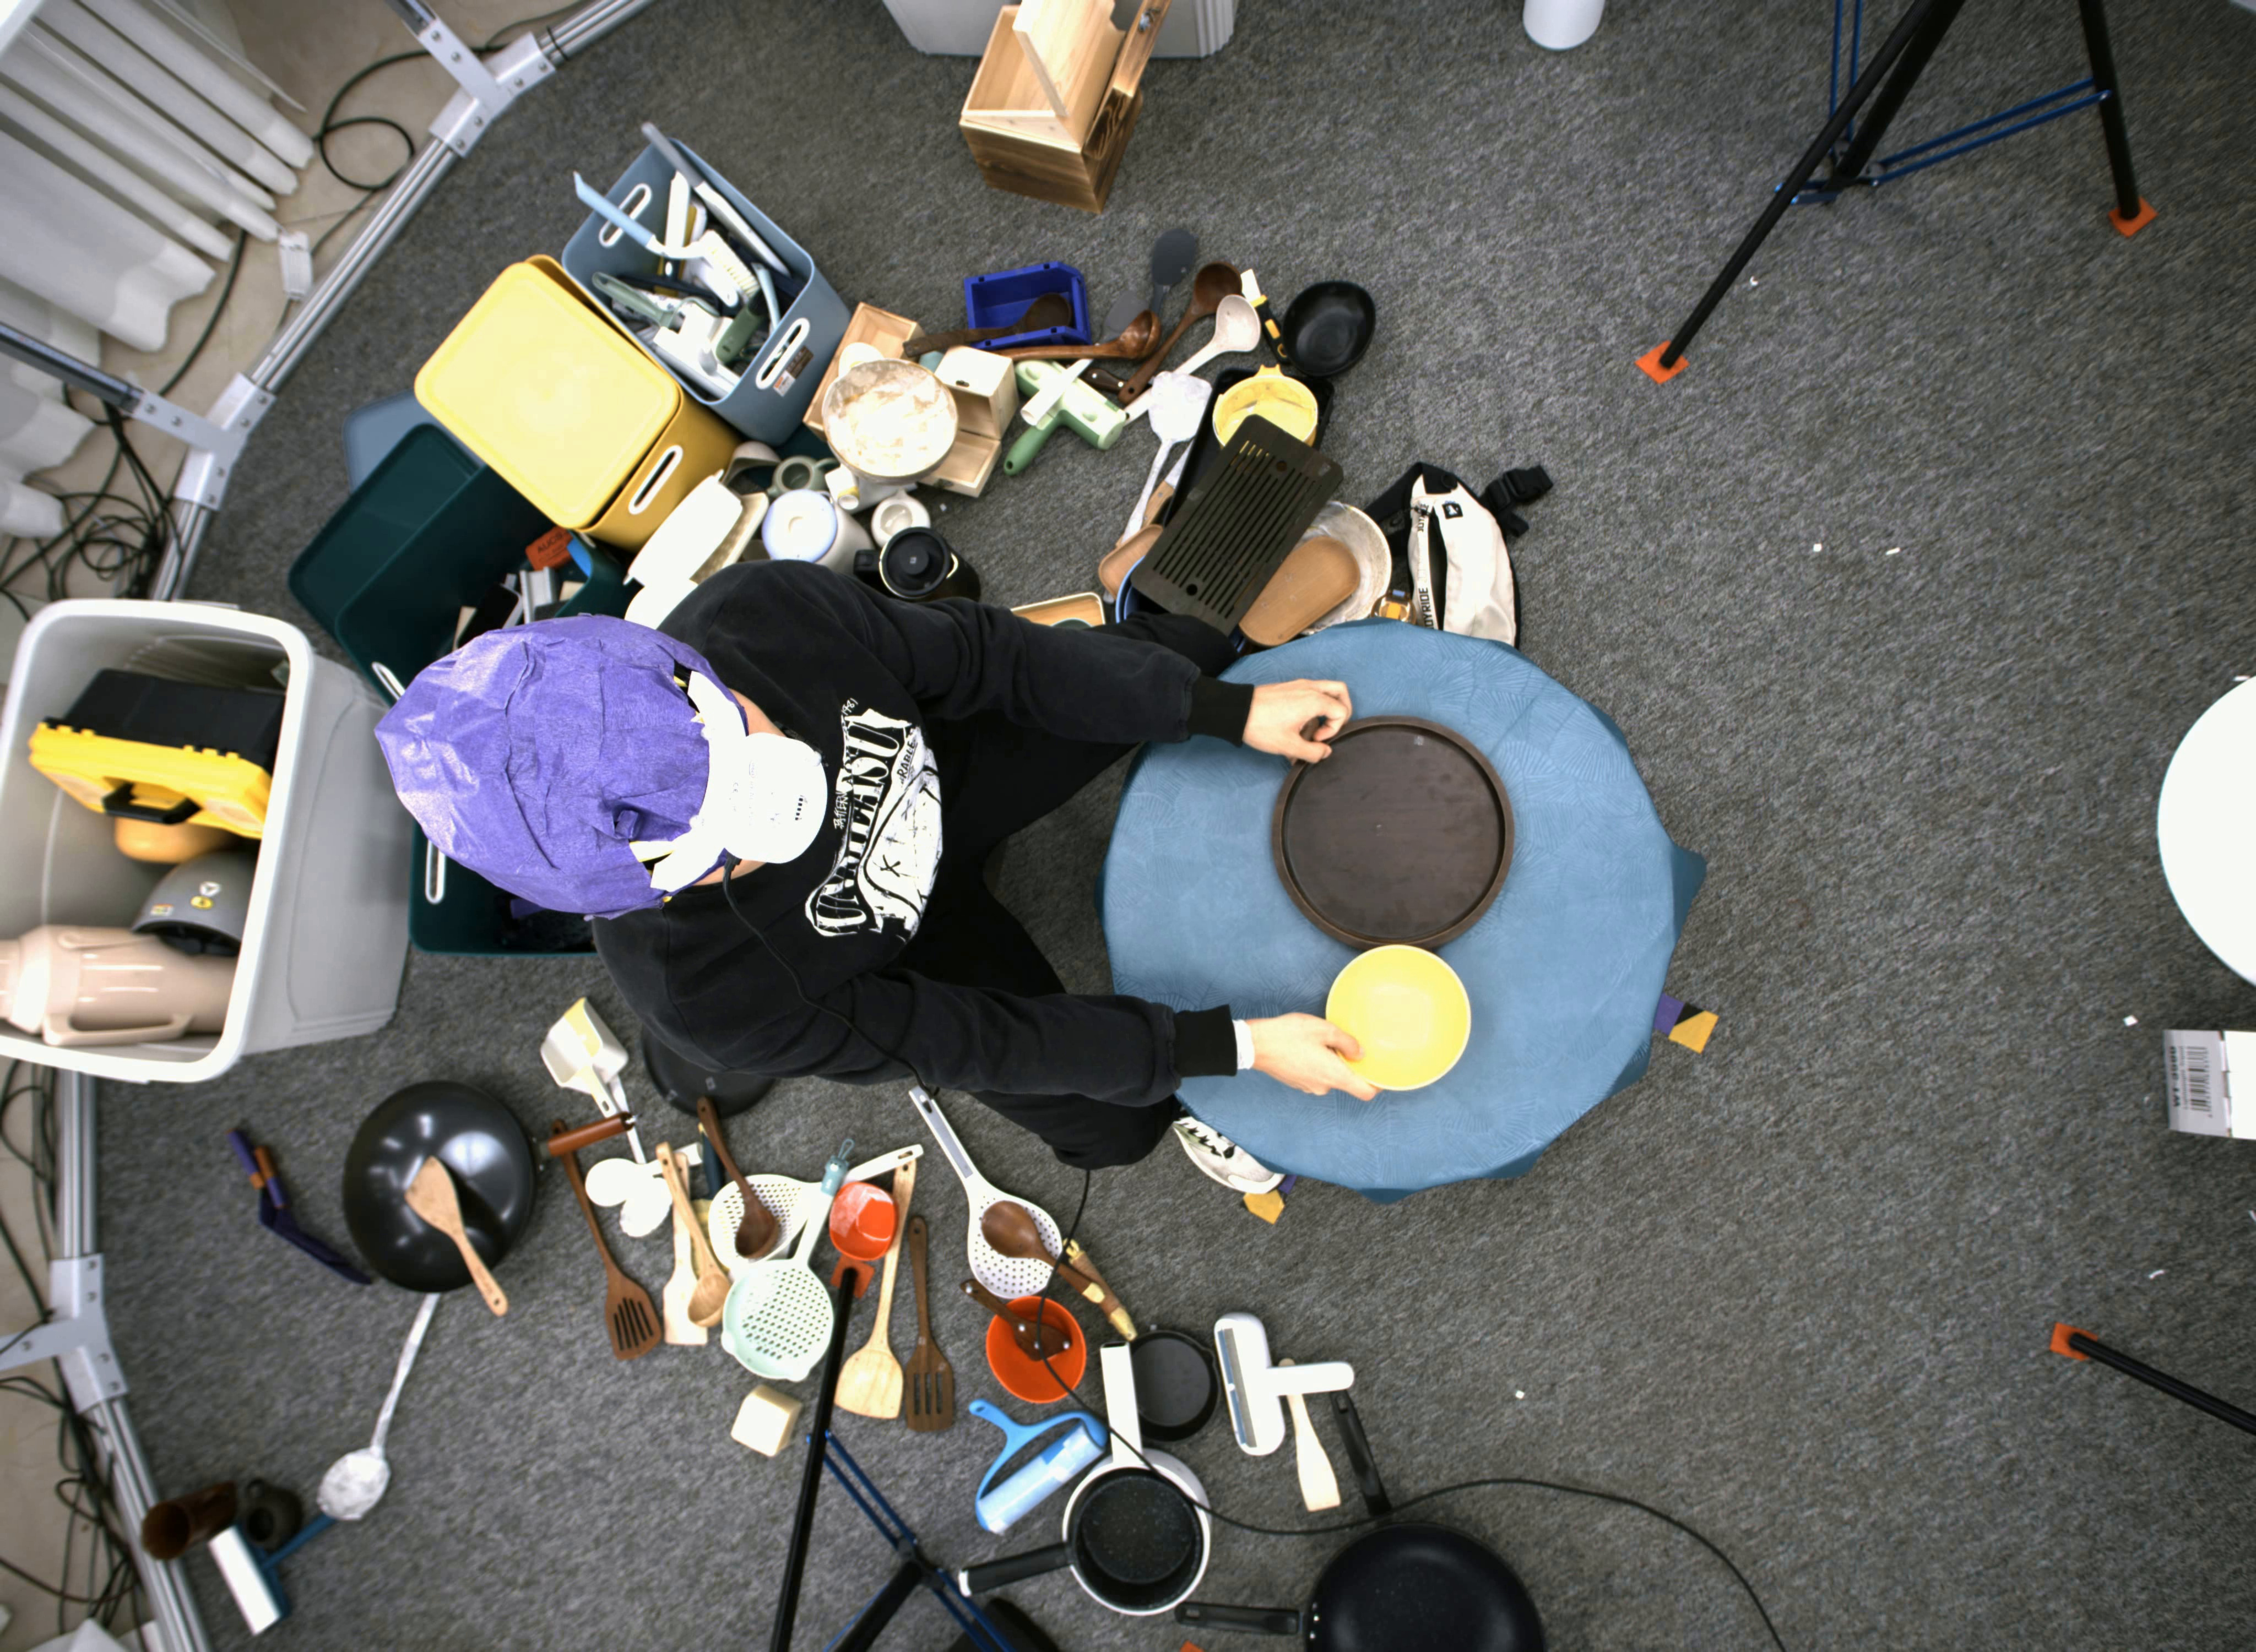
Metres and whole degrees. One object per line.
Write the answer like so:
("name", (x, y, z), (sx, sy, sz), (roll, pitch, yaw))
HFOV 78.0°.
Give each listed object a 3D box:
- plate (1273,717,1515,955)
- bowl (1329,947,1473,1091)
("plate", (0.280, 0.010, 1.456), (0.256, 0.029, 0.254), (-1, 88, 11))
("bowl", (0.281, 0.198, 1.425), (0.146, 0.060, 0.144), (-2, 82, 12))
